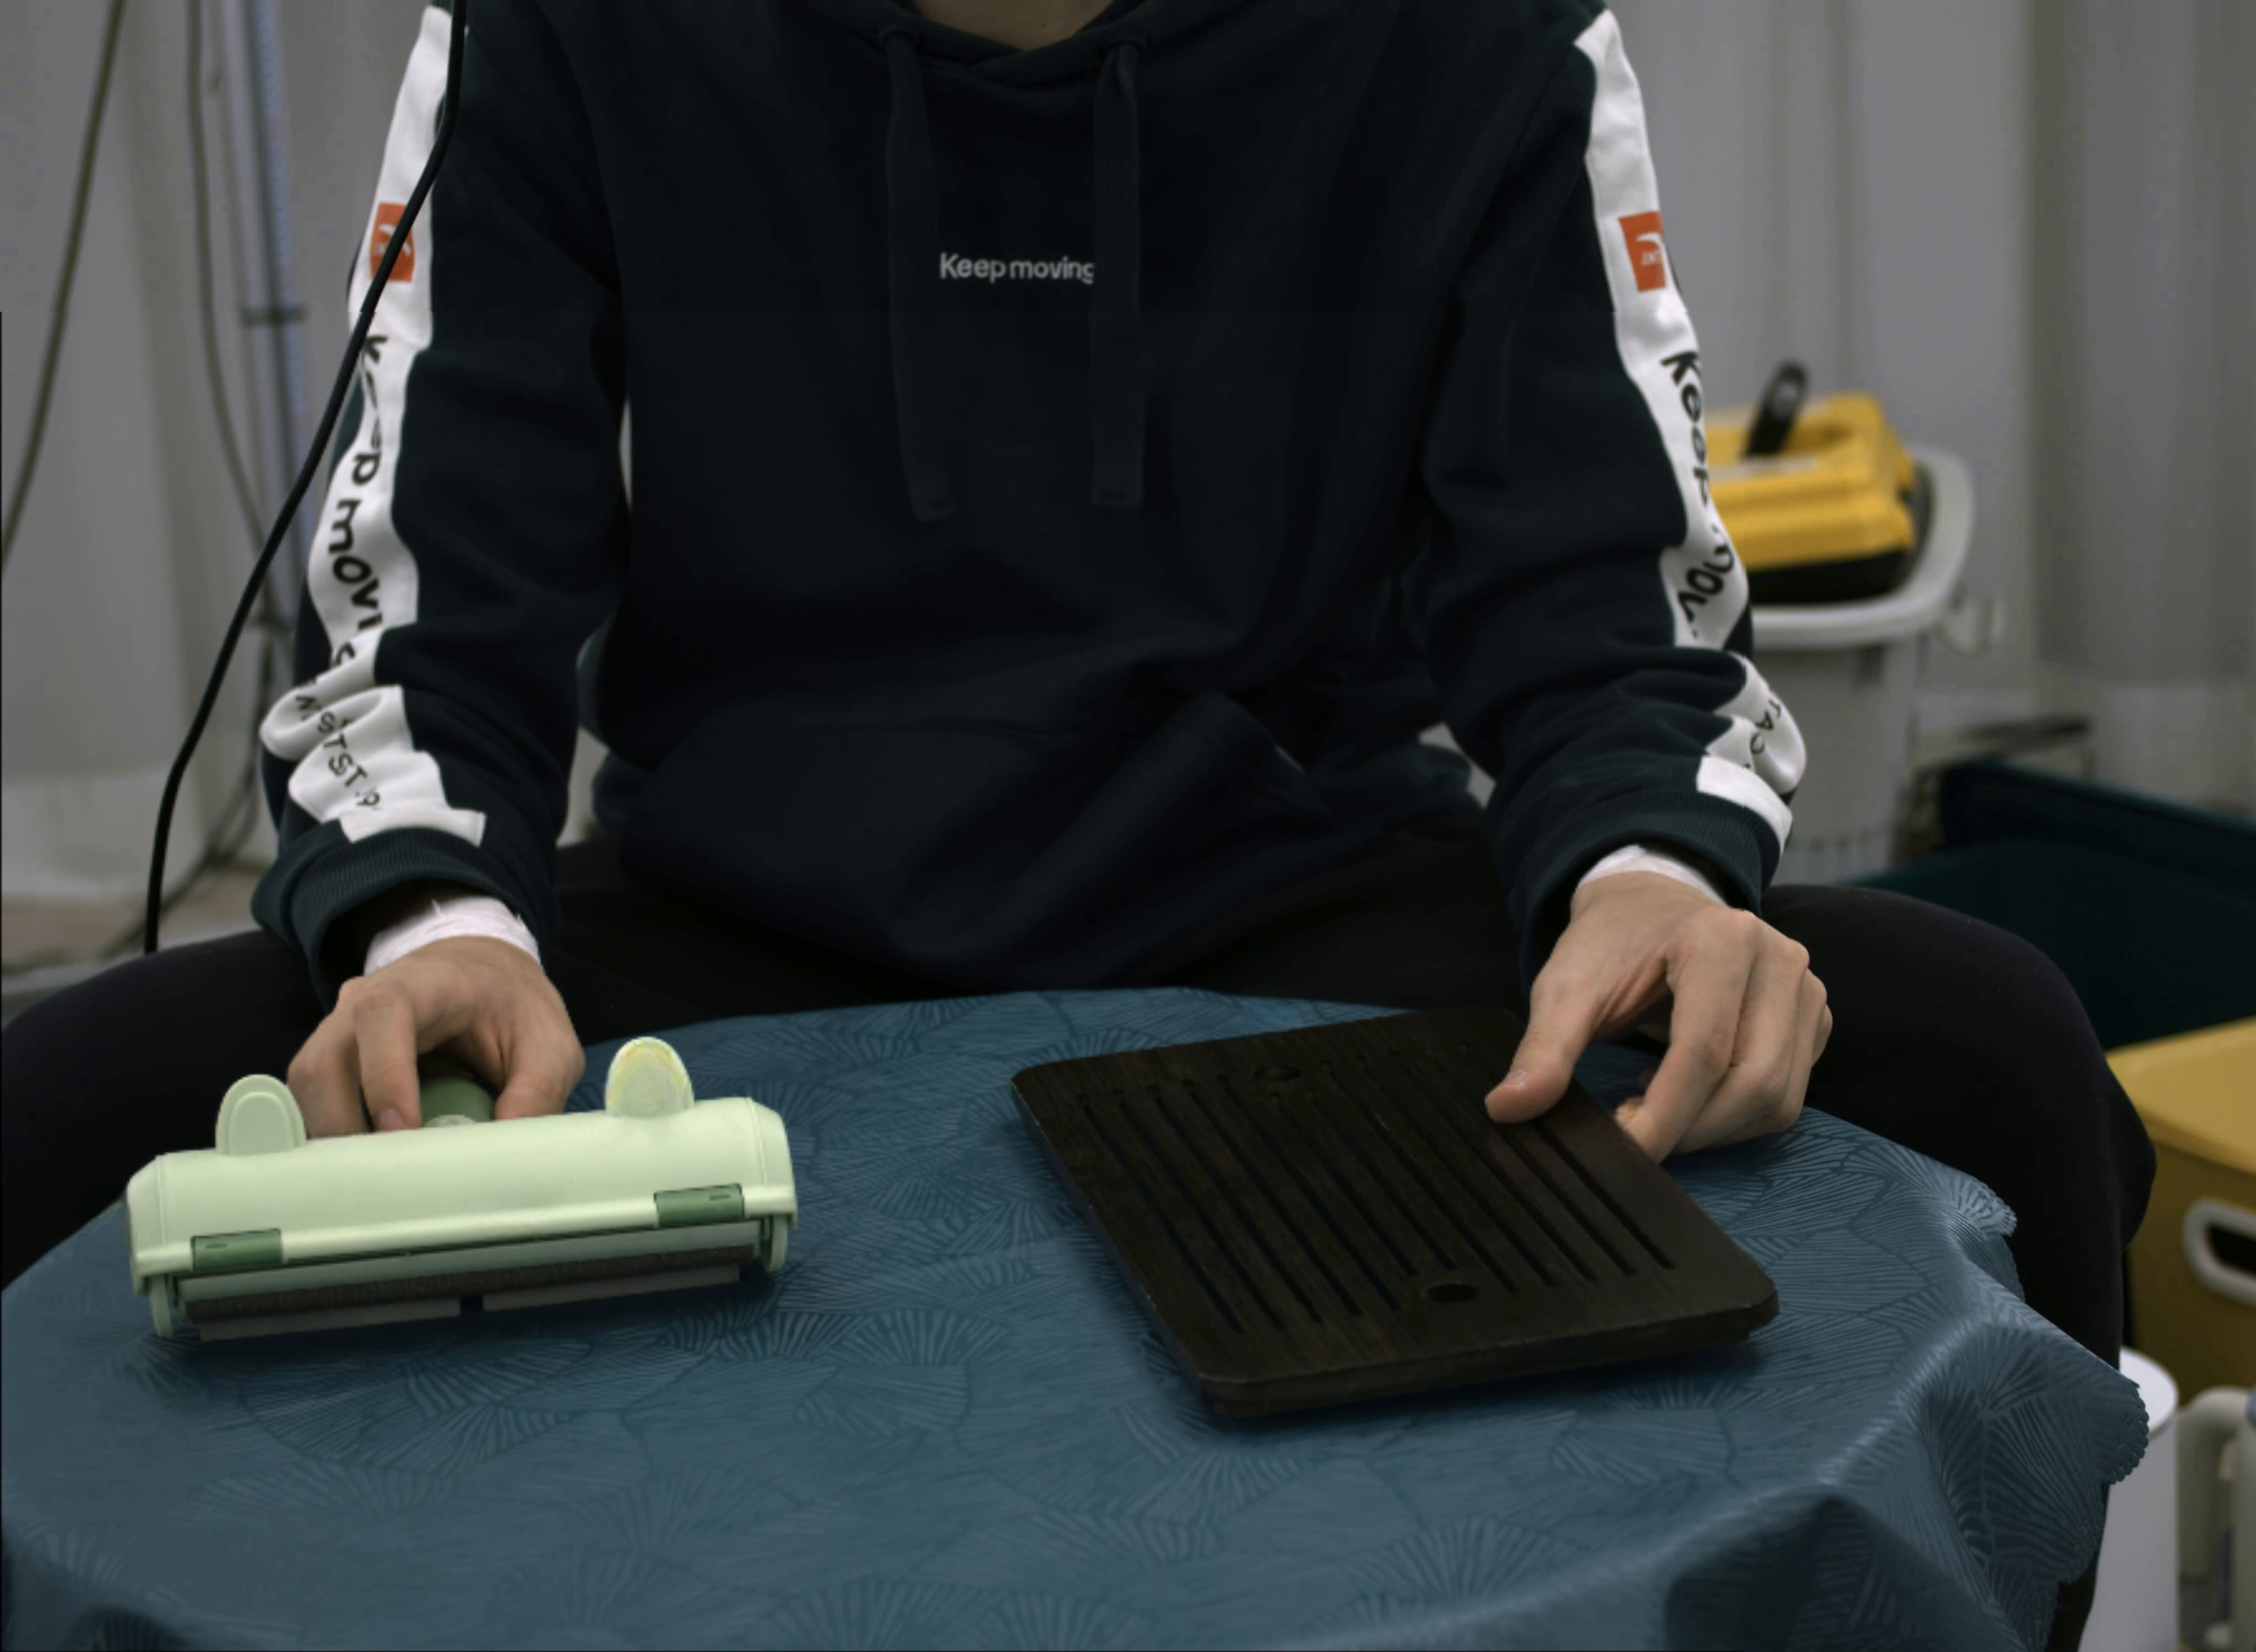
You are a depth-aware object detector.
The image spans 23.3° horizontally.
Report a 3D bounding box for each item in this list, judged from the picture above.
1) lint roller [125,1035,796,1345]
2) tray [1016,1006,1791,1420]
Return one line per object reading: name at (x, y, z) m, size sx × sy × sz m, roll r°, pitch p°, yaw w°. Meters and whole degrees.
lint roller at (-0.209, 0.091, 1.679) m, size 0.198 × 0.081 × 0.185 m, roll -6°, pitch 22°, yaw -9°
tray at (0.075, 0.114, 1.661) m, size 0.169 × 0.018 × 0.308 m, roll -8°, pitch 15°, yaw -10°
